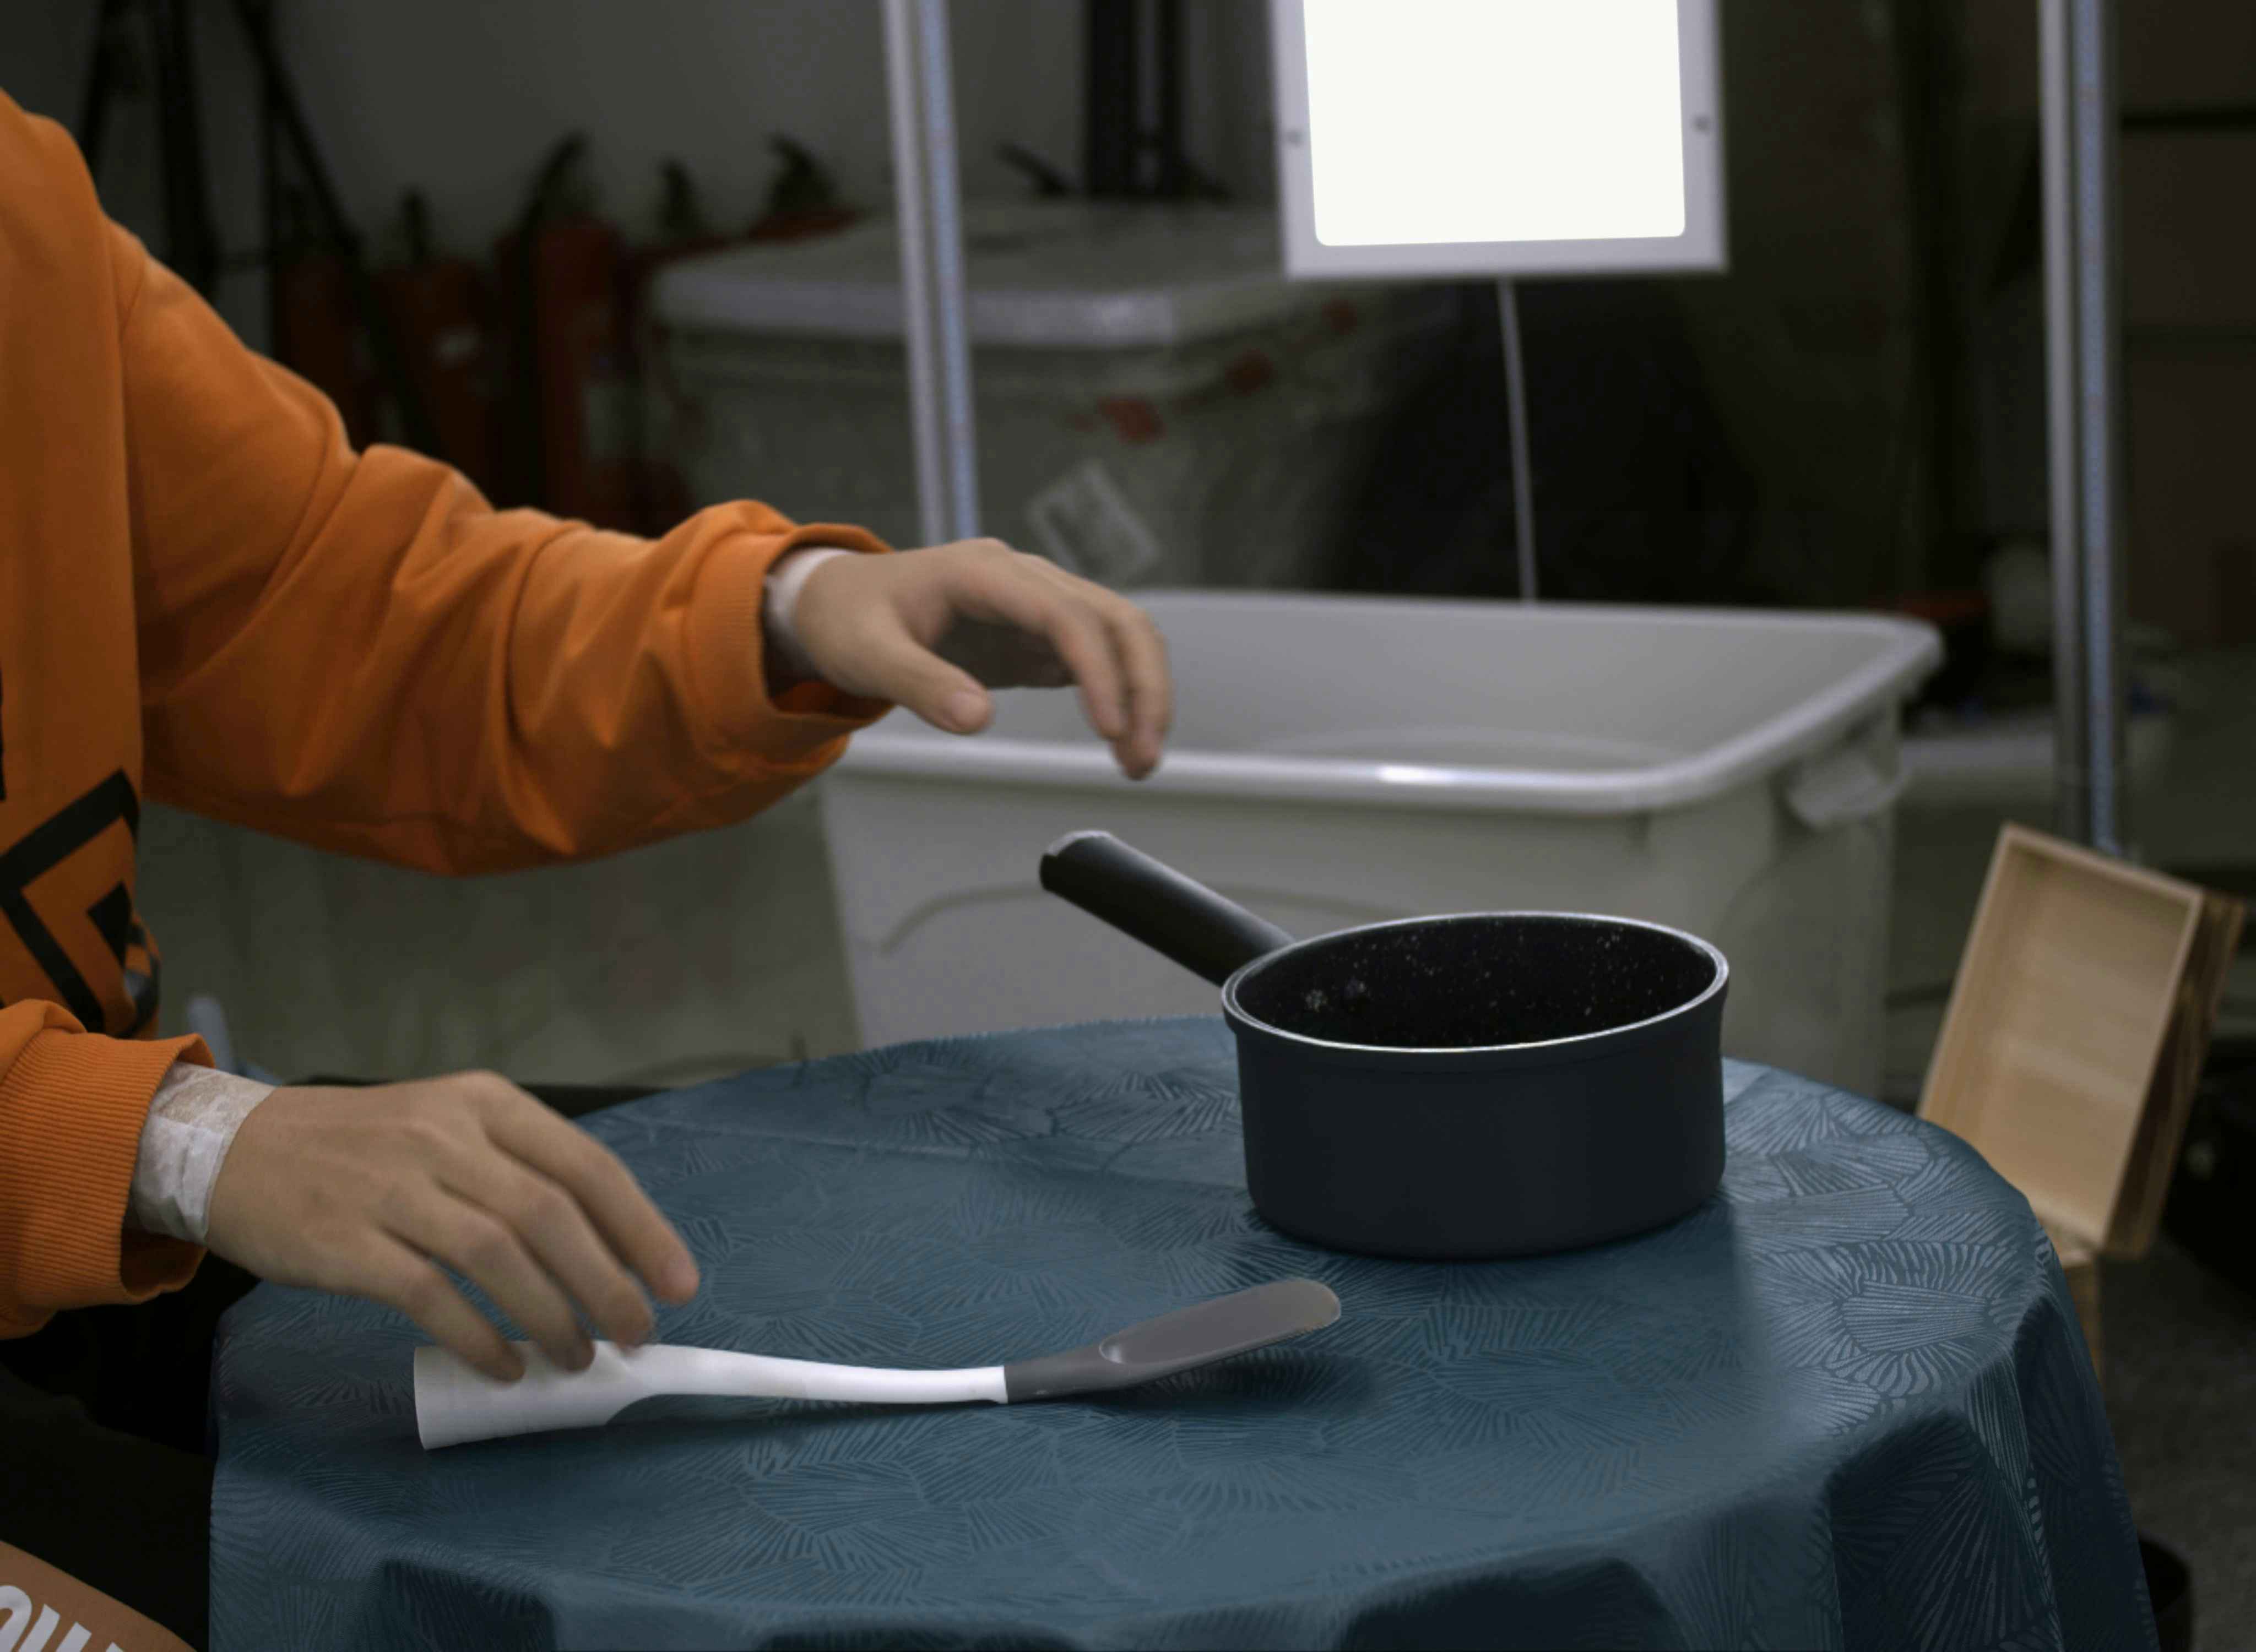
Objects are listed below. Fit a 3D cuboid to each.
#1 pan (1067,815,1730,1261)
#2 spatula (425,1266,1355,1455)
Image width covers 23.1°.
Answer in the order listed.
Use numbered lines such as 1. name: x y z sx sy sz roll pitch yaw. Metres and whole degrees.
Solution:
1. pan: 0.077 0.069 1.922 0.168 0.087 0.335 -12 17 -29
2. spatula: -0.072 0.165 1.701 0.287 0.032 0.058 -5 9 2
